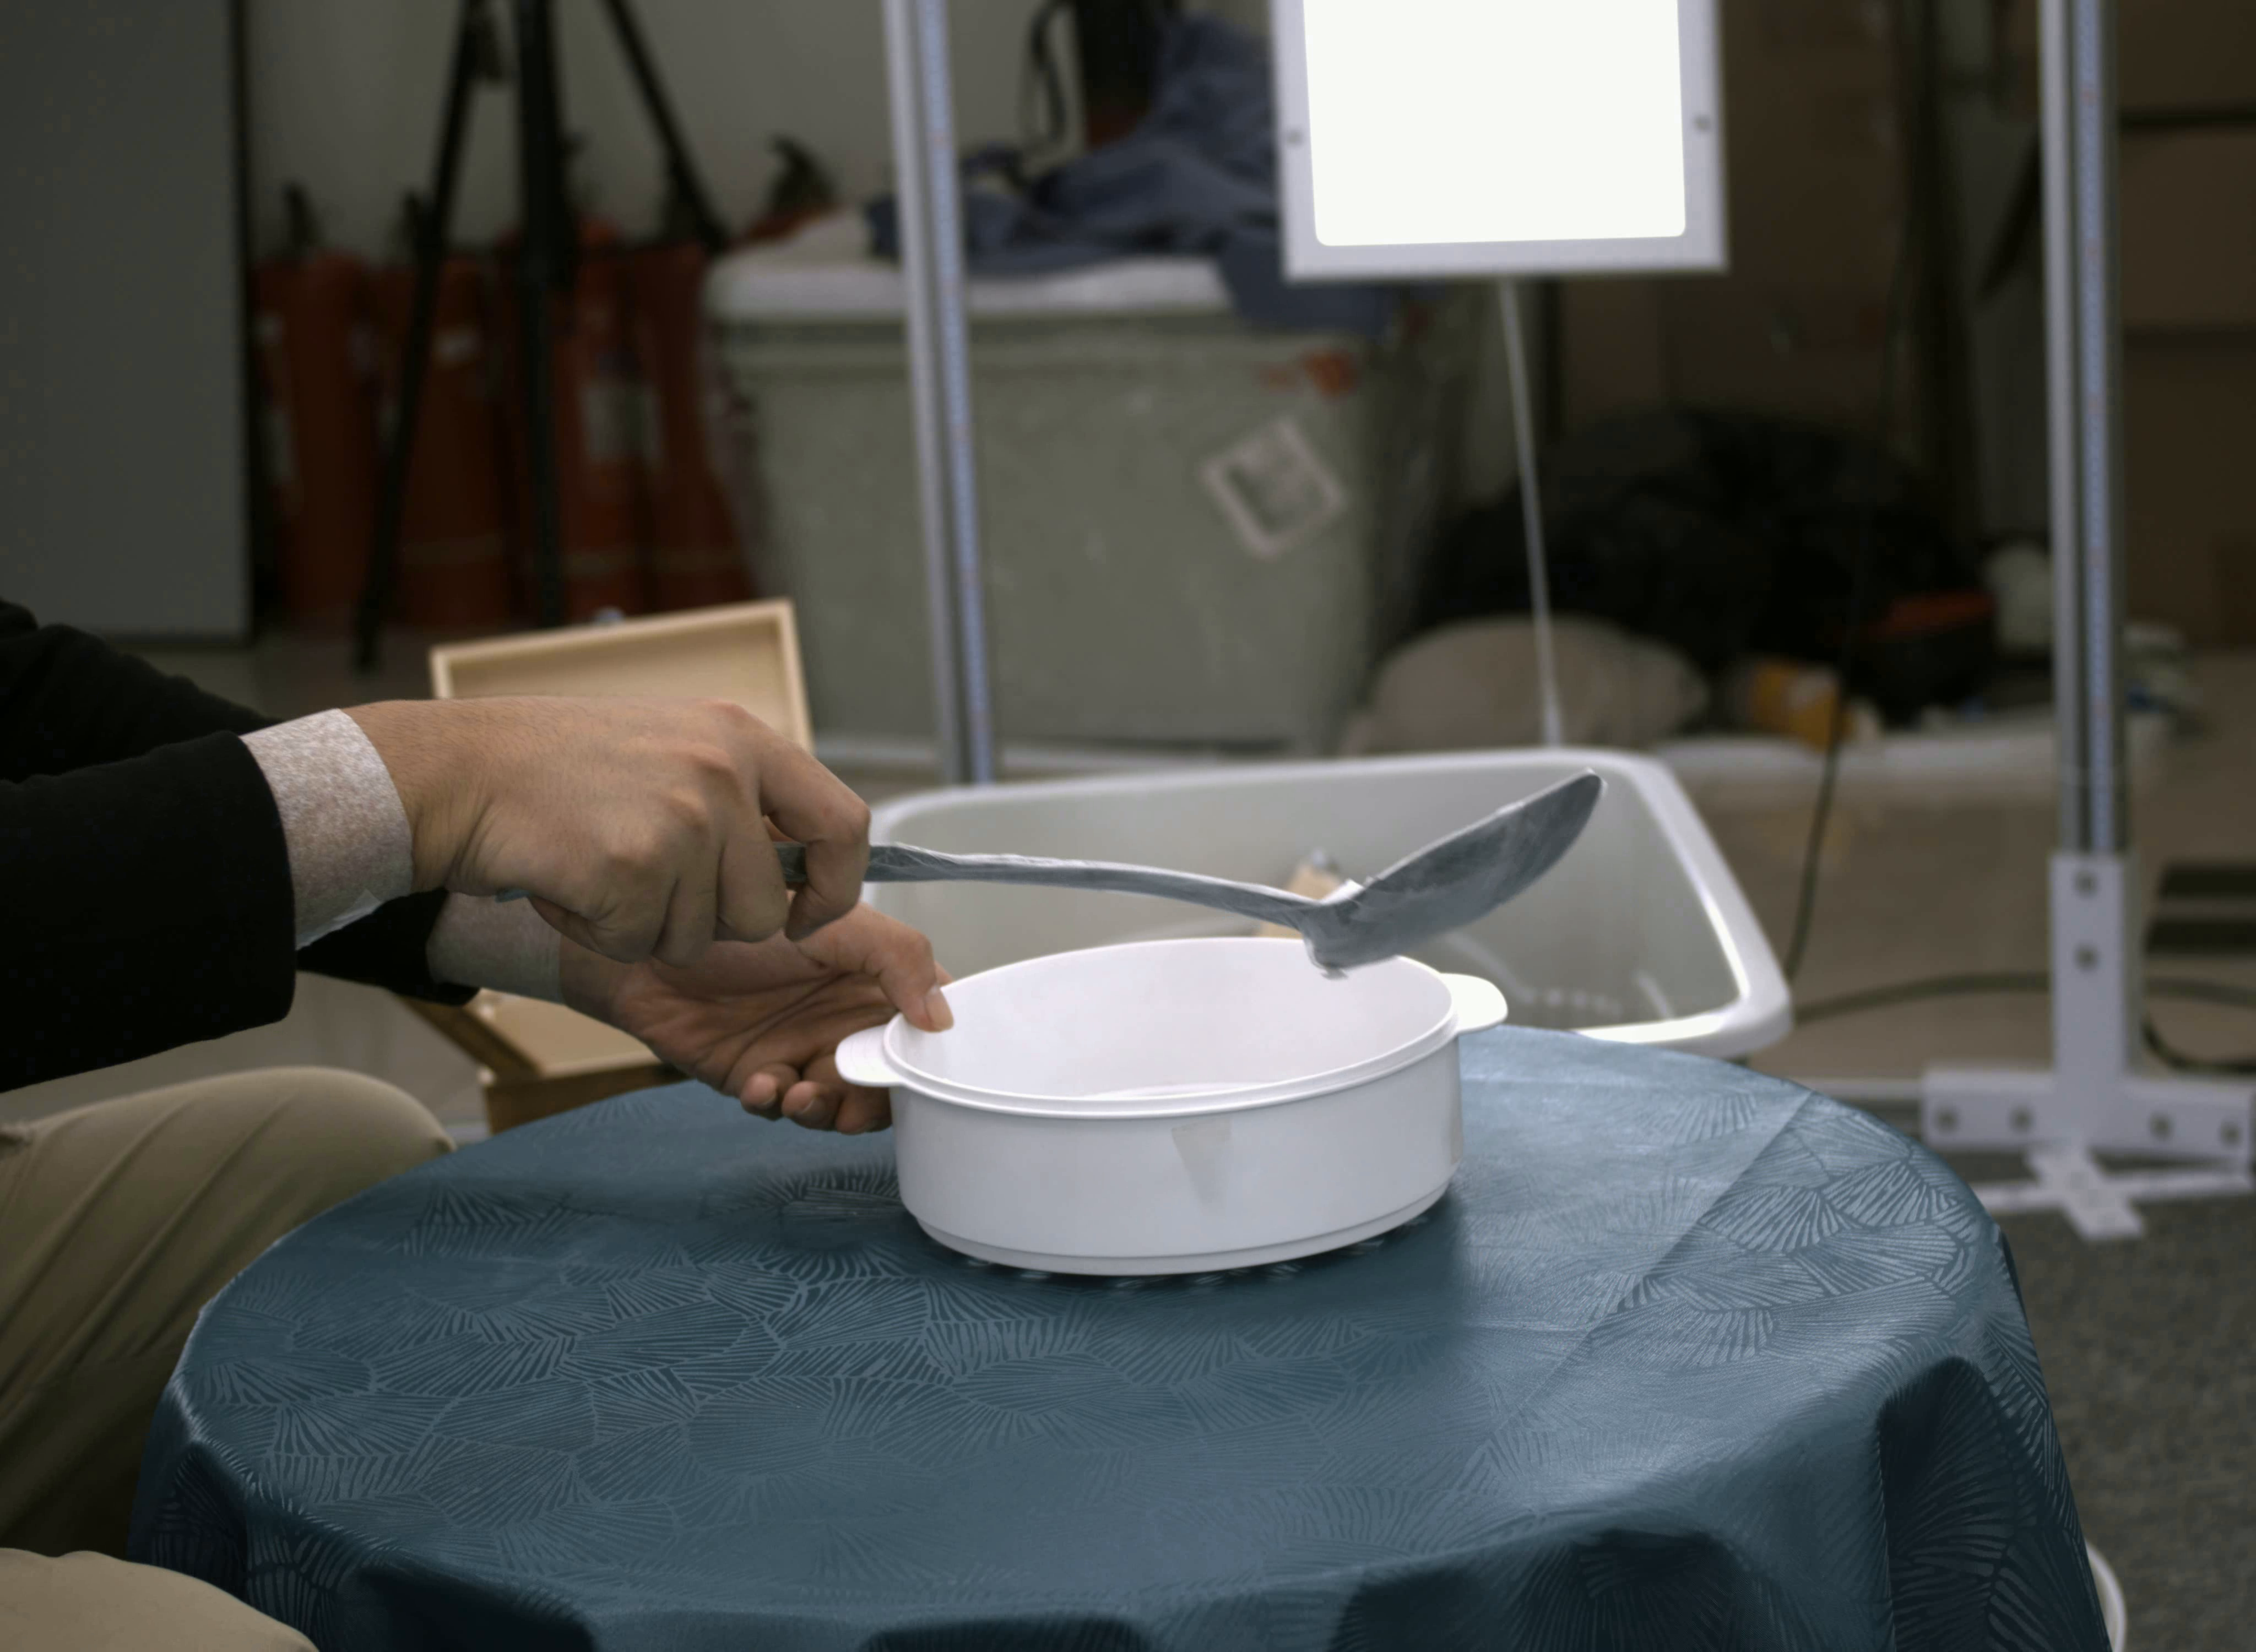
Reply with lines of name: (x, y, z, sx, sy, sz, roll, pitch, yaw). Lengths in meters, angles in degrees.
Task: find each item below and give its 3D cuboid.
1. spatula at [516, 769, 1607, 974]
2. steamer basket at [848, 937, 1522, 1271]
spatula: (-0.017, 0.015, 1.728, 0.358, 0.045, 0.100, 3, -31, -20)
steamer basket: (0.022, 0.095, 1.874, 0.230, 0.069, 0.202, -6, 13, 0)
